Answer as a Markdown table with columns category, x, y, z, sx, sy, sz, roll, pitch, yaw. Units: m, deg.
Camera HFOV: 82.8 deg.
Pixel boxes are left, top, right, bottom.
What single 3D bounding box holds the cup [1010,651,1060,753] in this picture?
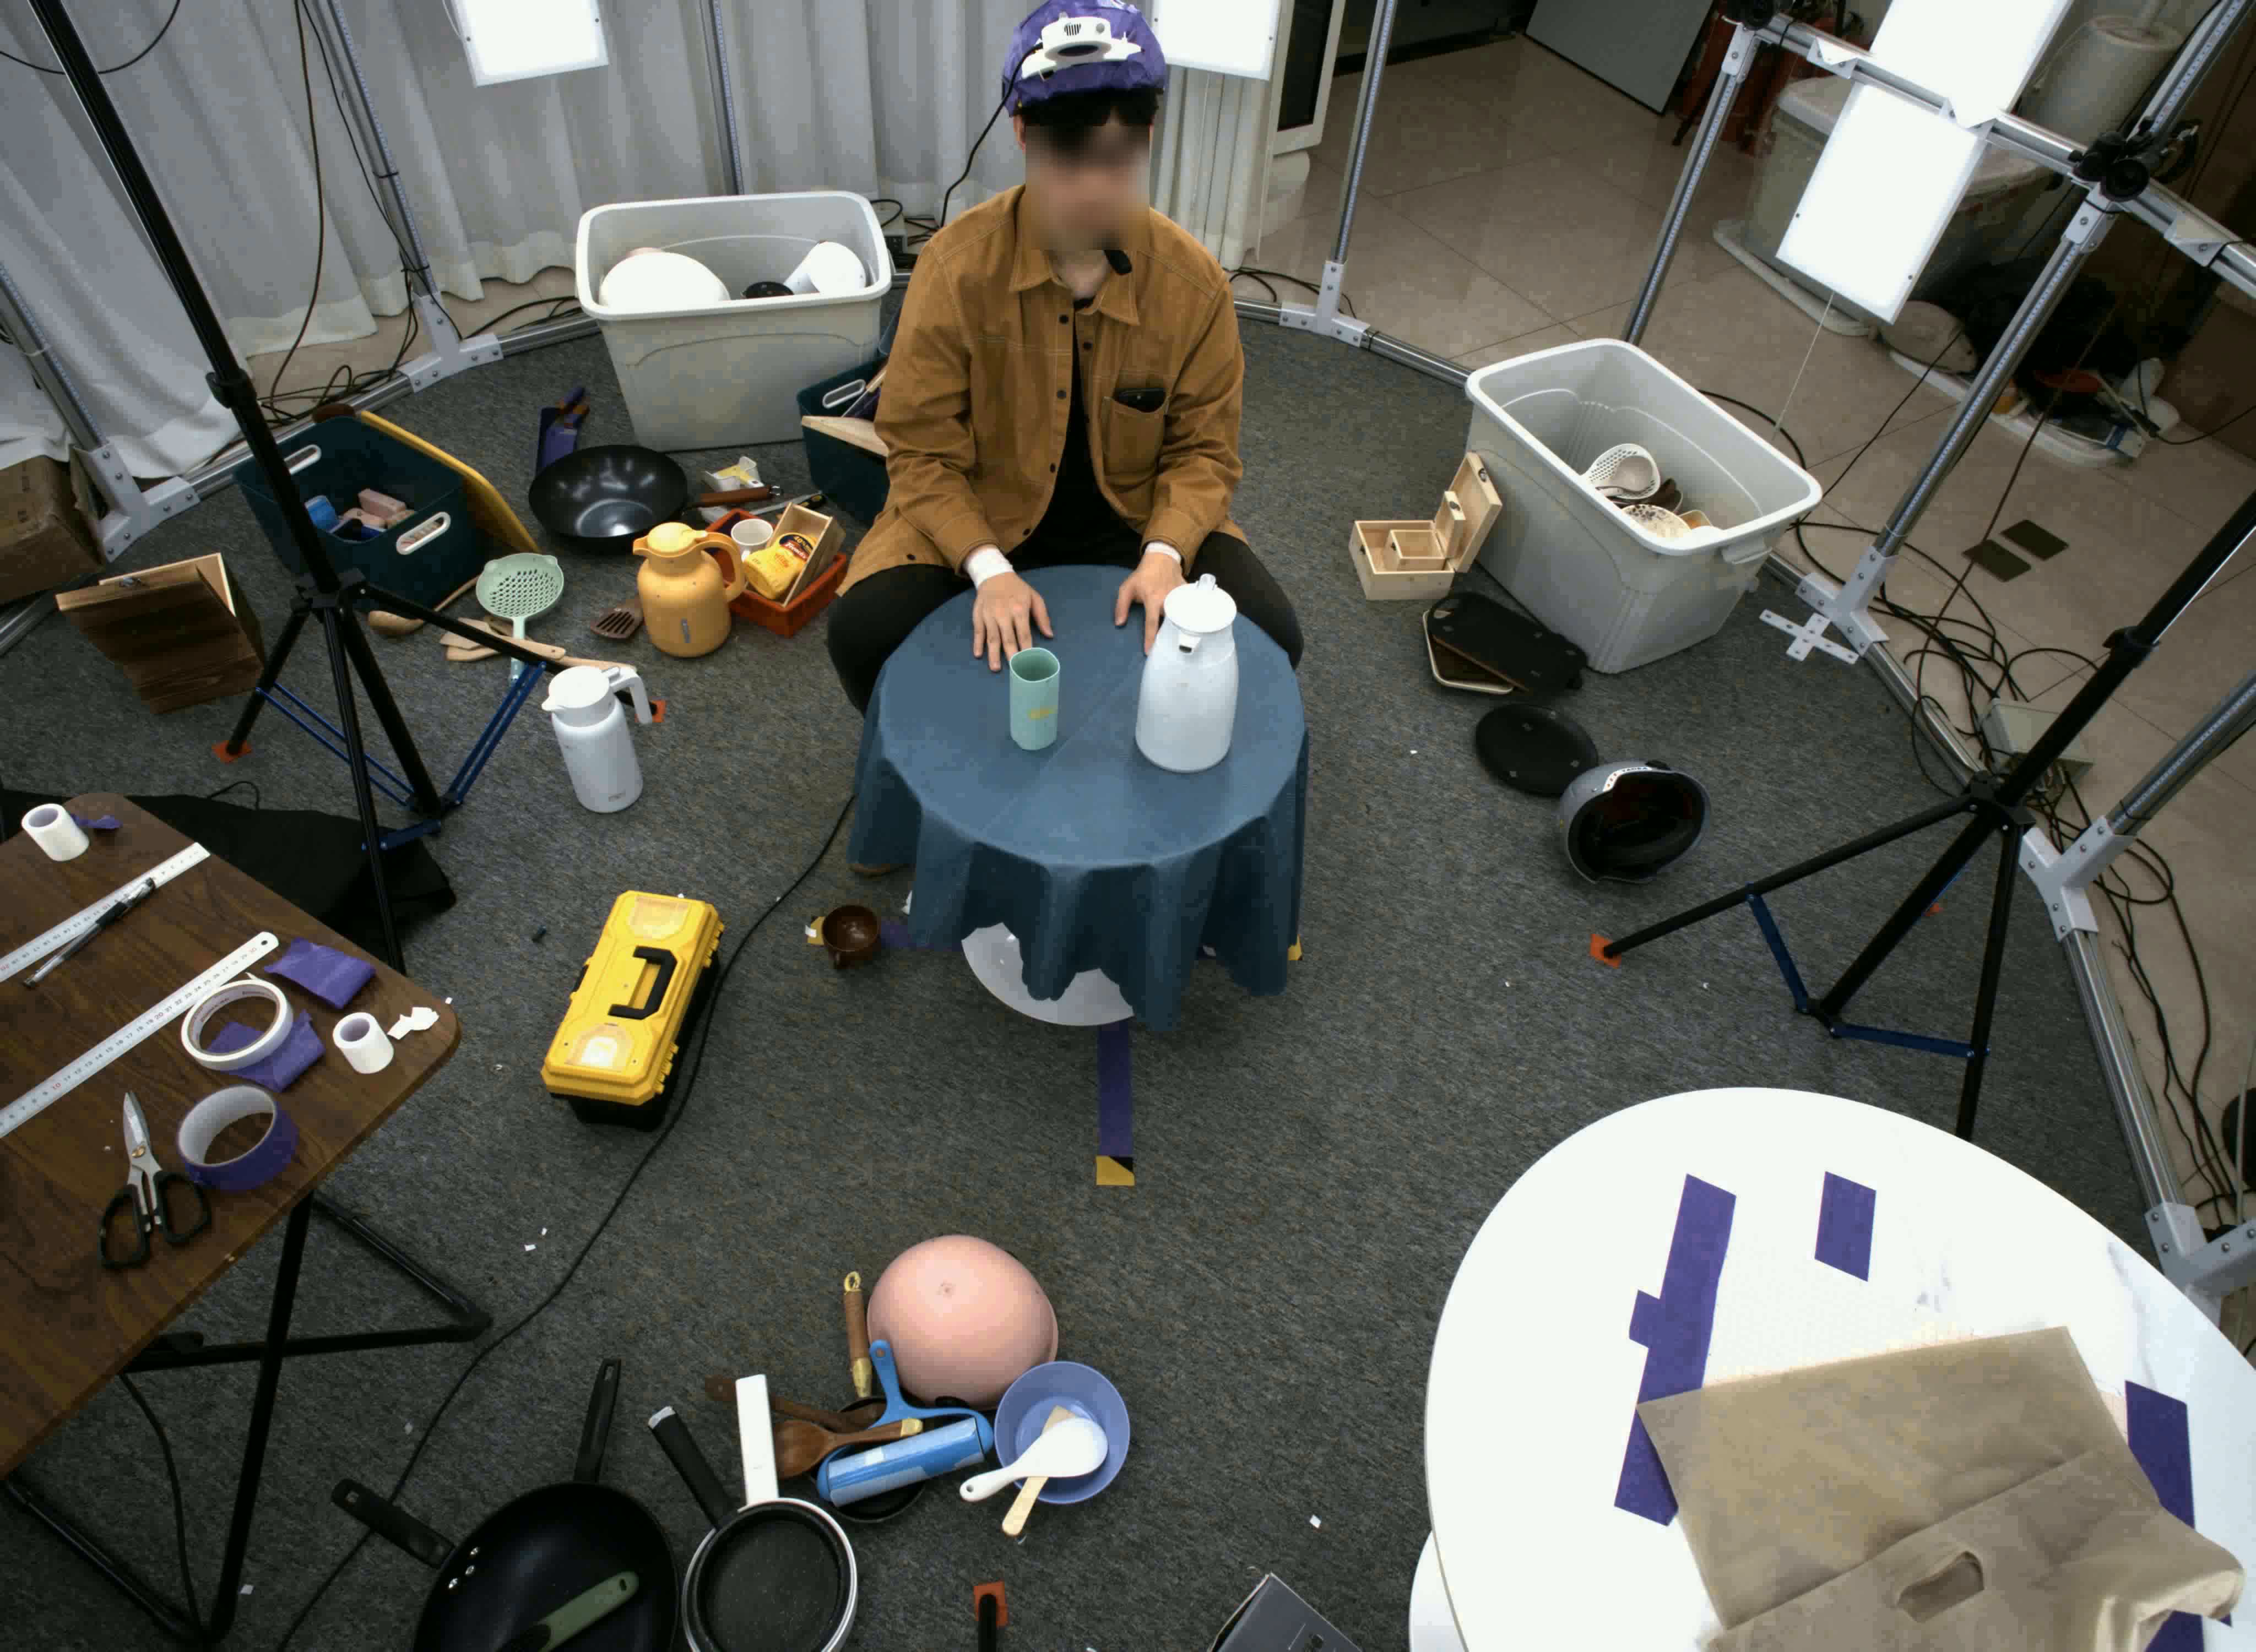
| category | x | y | z | sx | sy | sz | roll | pitch | yaw |
| --- | --- | --- | --- | --- | --- | --- | --- | --- | --- |
| cup | -0.126 | -0.167 | 1.727 | 0.066 | 0.129 | 0.068 | 2 | 49 | -3 |

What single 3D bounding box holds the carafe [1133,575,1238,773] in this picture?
| category | x | y | z | sx | sy | sz | roll | pitch | yaw |
| --- | --- | --- | --- | --- | --- | --- | --- | --- | --- |
| carafe | 0.087 | -0.213 | 1.702 | 0.133 | 0.242 | 0.171 | 17 | 49 | 8 |
